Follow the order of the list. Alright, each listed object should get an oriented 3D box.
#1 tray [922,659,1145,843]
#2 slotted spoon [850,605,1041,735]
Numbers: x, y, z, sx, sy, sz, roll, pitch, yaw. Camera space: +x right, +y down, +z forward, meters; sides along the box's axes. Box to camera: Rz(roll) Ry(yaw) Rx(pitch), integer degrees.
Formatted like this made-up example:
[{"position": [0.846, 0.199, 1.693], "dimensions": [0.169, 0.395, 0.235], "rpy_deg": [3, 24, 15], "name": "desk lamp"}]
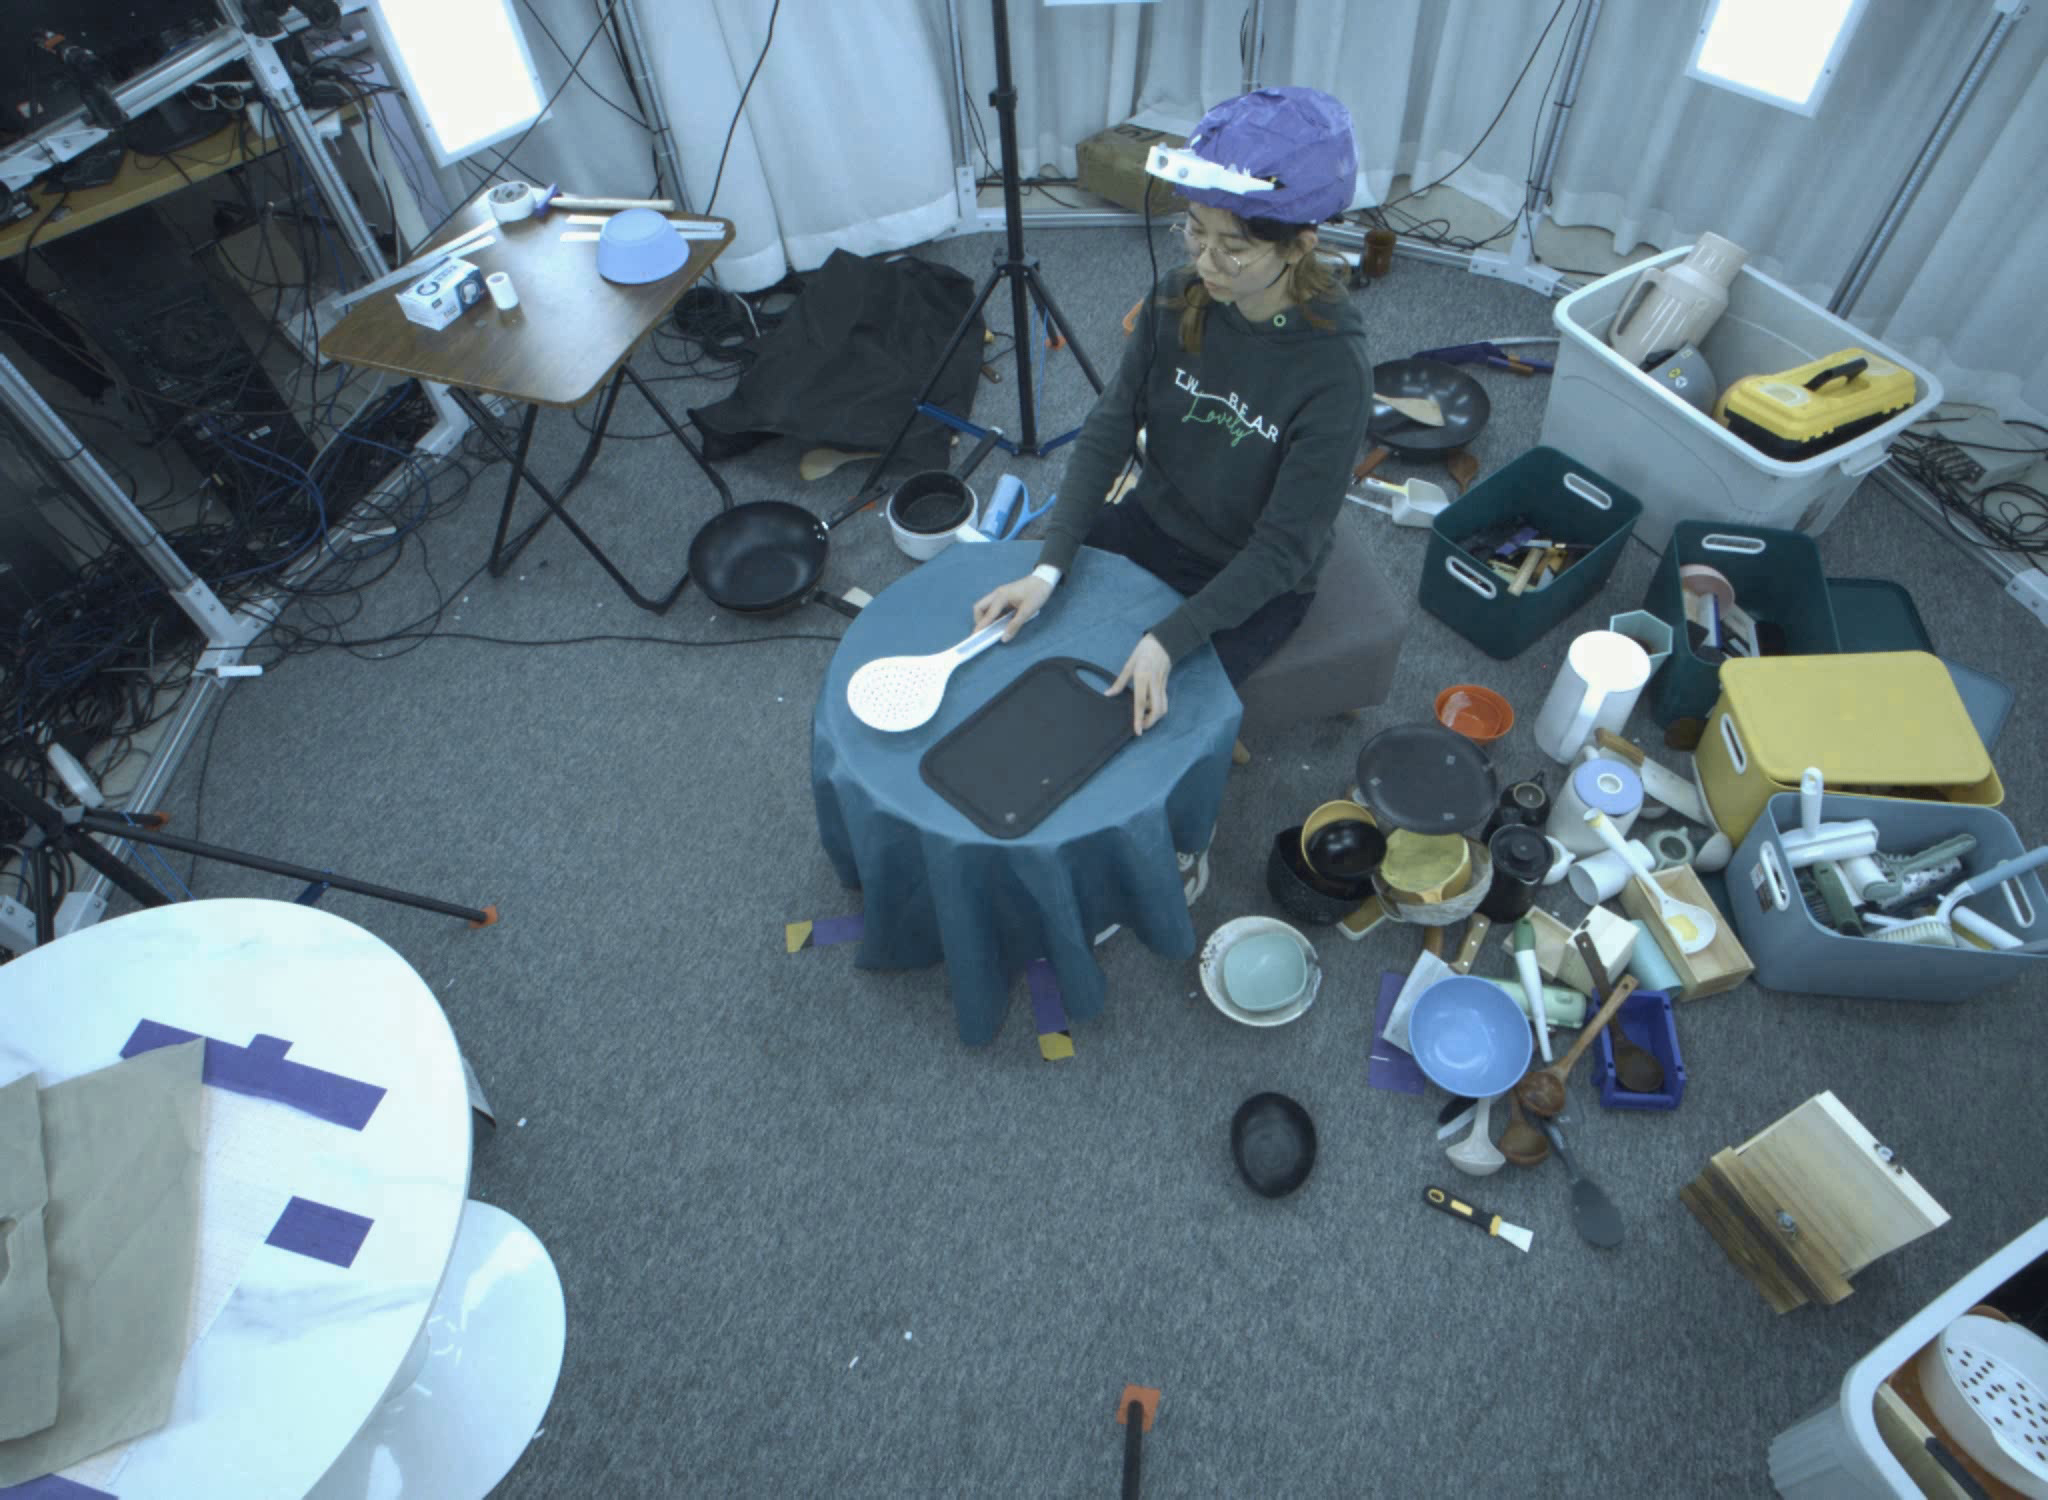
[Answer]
[{"position": [0.020, -0.012, 1.798], "dimensions": [0.207, 0.010, 0.327], "rpy_deg": [38, 64, 26], "name": "tray"}, {"position": [-0.110, -0.131, 1.865], "dimensions": [0.352, 0.046, 0.134], "rpy_deg": [-37, 69, -23], "name": "slotted spoon"}]
